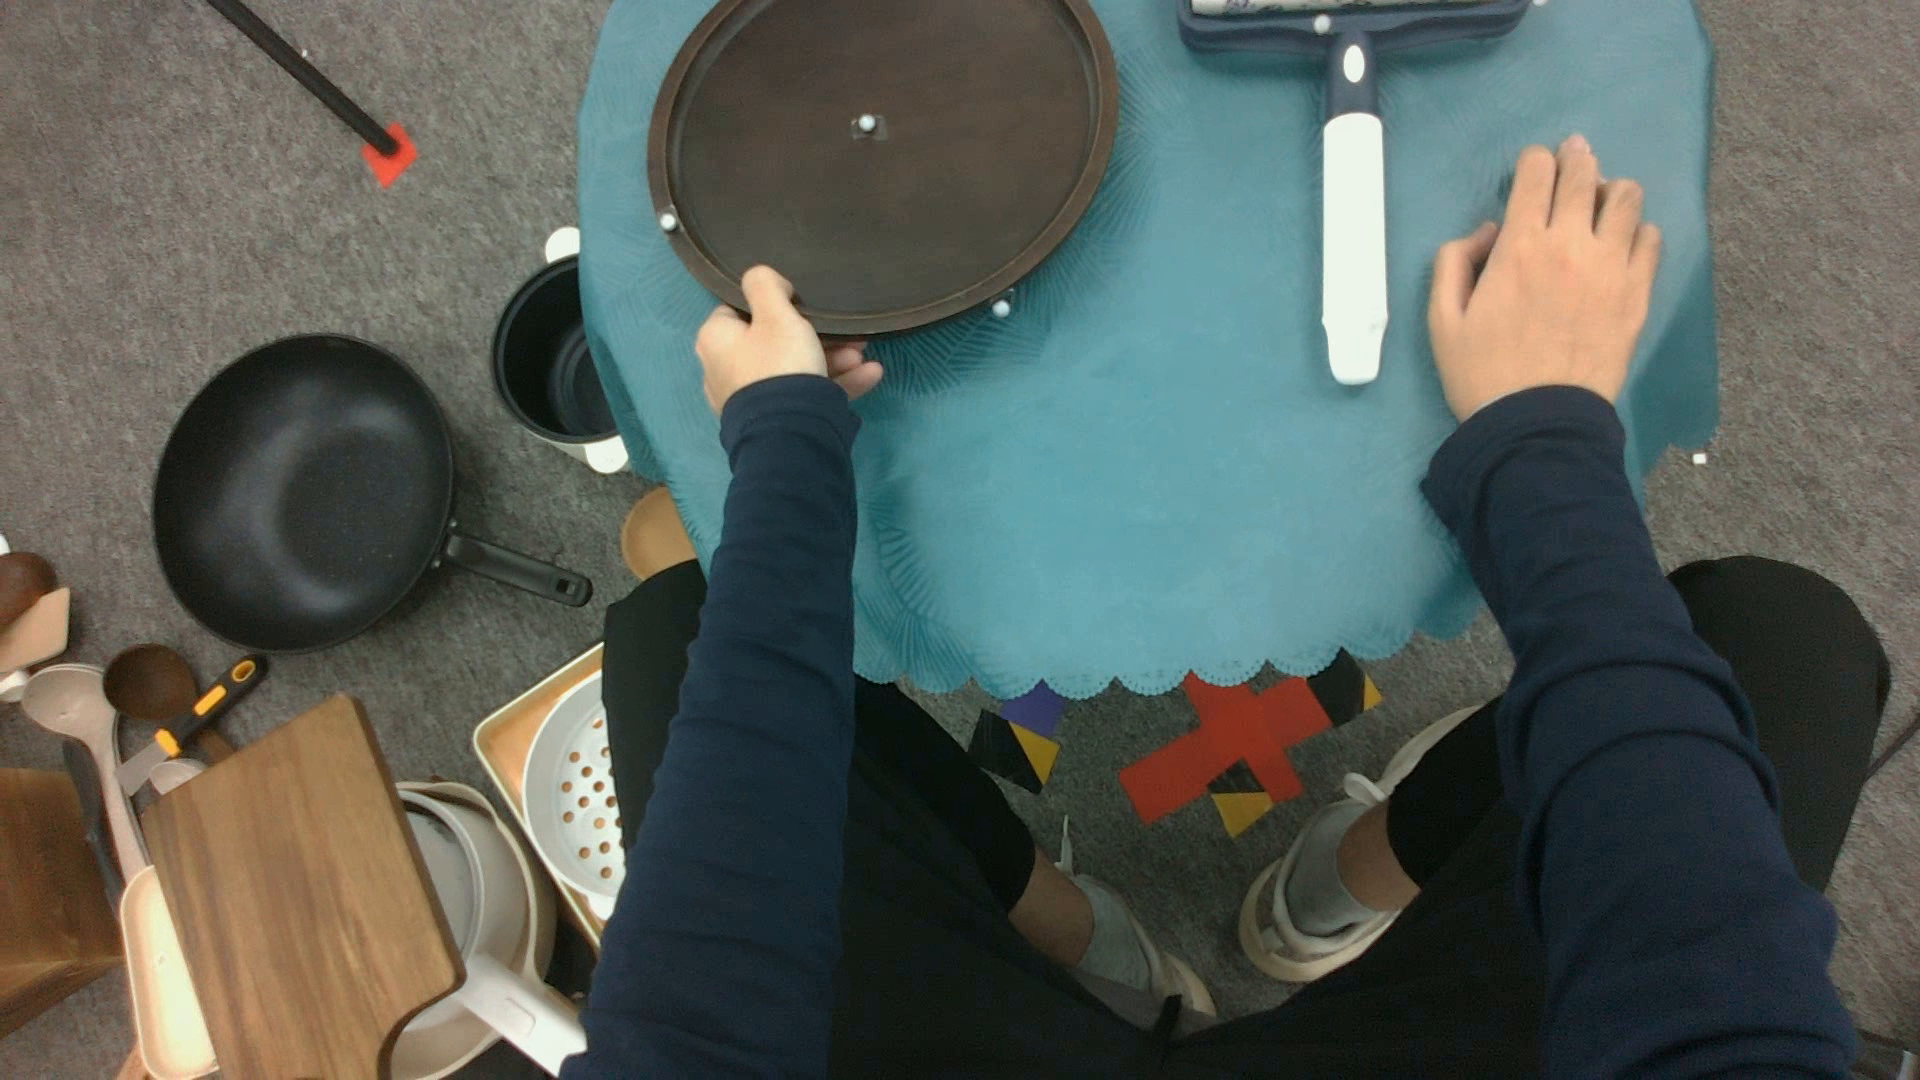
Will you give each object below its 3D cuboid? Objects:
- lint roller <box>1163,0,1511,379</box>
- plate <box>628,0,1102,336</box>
[{"bbox_3d":[0.191,-0.204,0.692,0.176,0.050,0.247,0,79,7],"label":"lint roller"},{"bbox_3d":[-0.051,-0.220,0.728,0.254,0.029,0.255,-3,71,9],"label":"plate"}]
